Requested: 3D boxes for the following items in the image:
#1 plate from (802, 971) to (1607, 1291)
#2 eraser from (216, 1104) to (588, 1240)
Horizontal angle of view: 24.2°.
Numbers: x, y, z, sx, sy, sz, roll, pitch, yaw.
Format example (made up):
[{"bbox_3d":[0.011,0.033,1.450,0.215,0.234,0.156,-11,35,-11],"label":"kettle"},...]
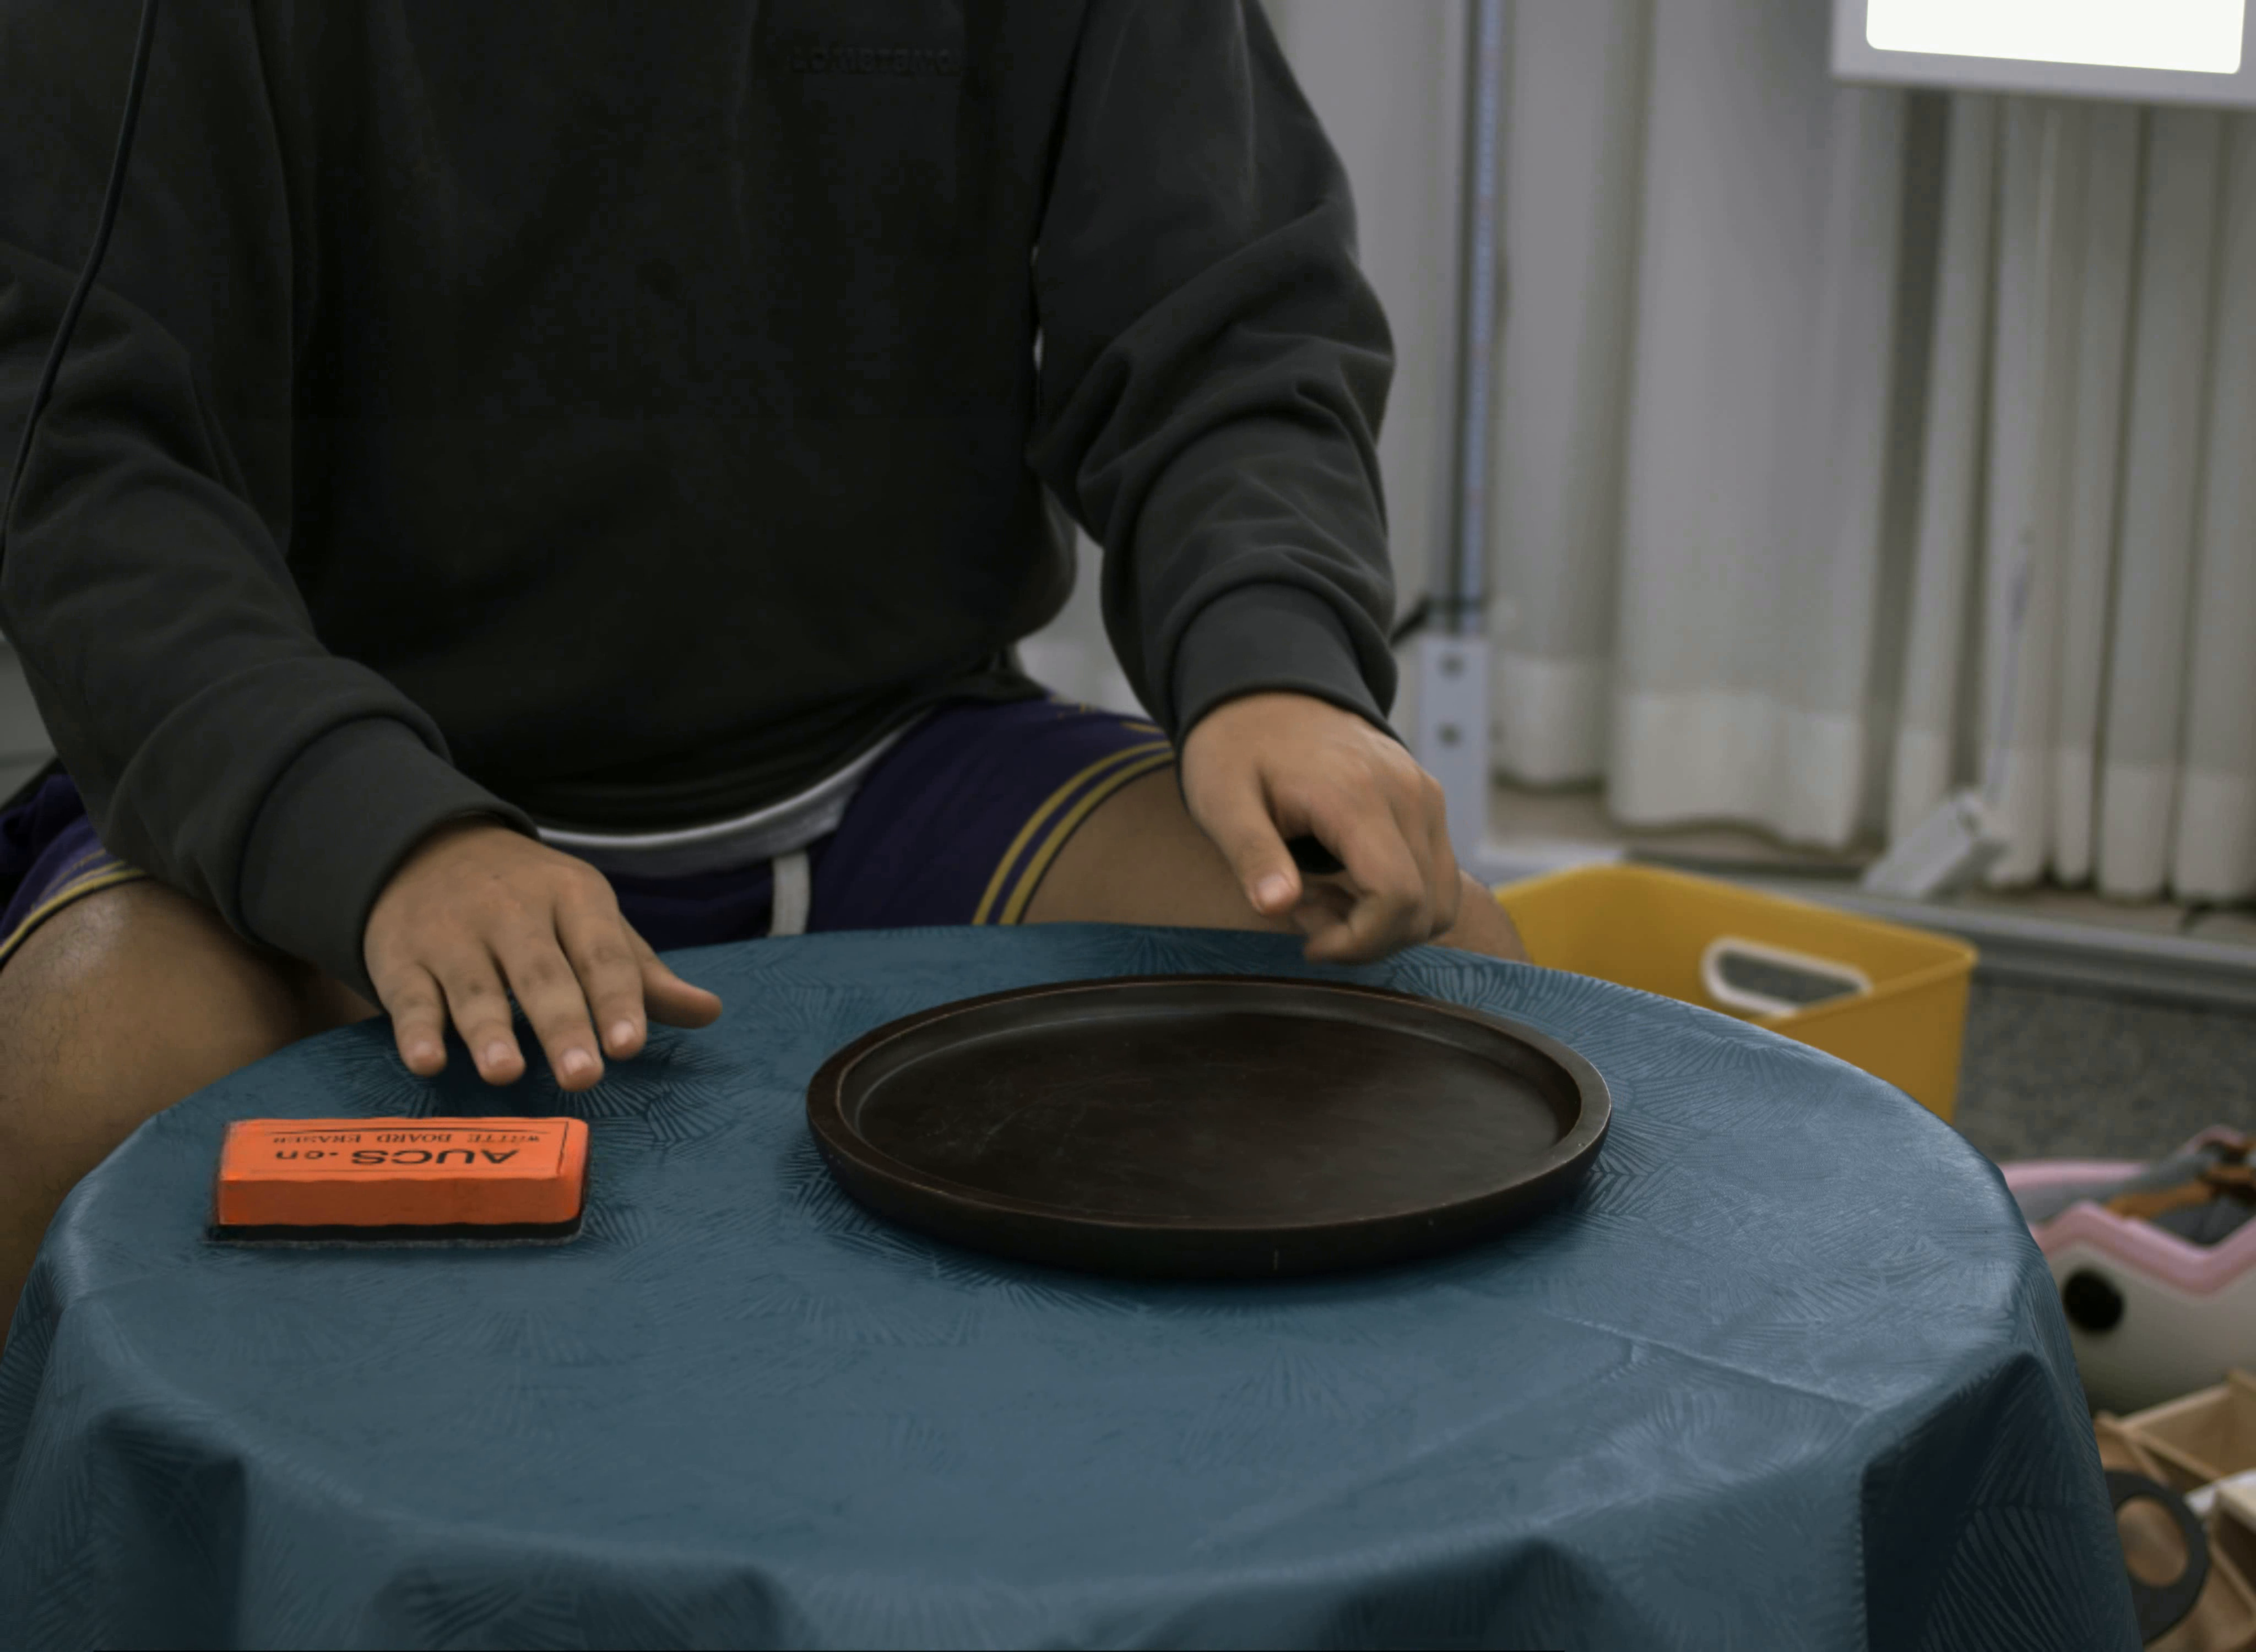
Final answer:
[{"bbox_3d":[0.024,0.093,1.652,0.254,0.029,0.253,-1,16,1],"label":"plate"},{"bbox_3d":[-0.218,0.104,1.588,0.108,0.023,0.058,-1,15,-2],"label":"eraser"}]
